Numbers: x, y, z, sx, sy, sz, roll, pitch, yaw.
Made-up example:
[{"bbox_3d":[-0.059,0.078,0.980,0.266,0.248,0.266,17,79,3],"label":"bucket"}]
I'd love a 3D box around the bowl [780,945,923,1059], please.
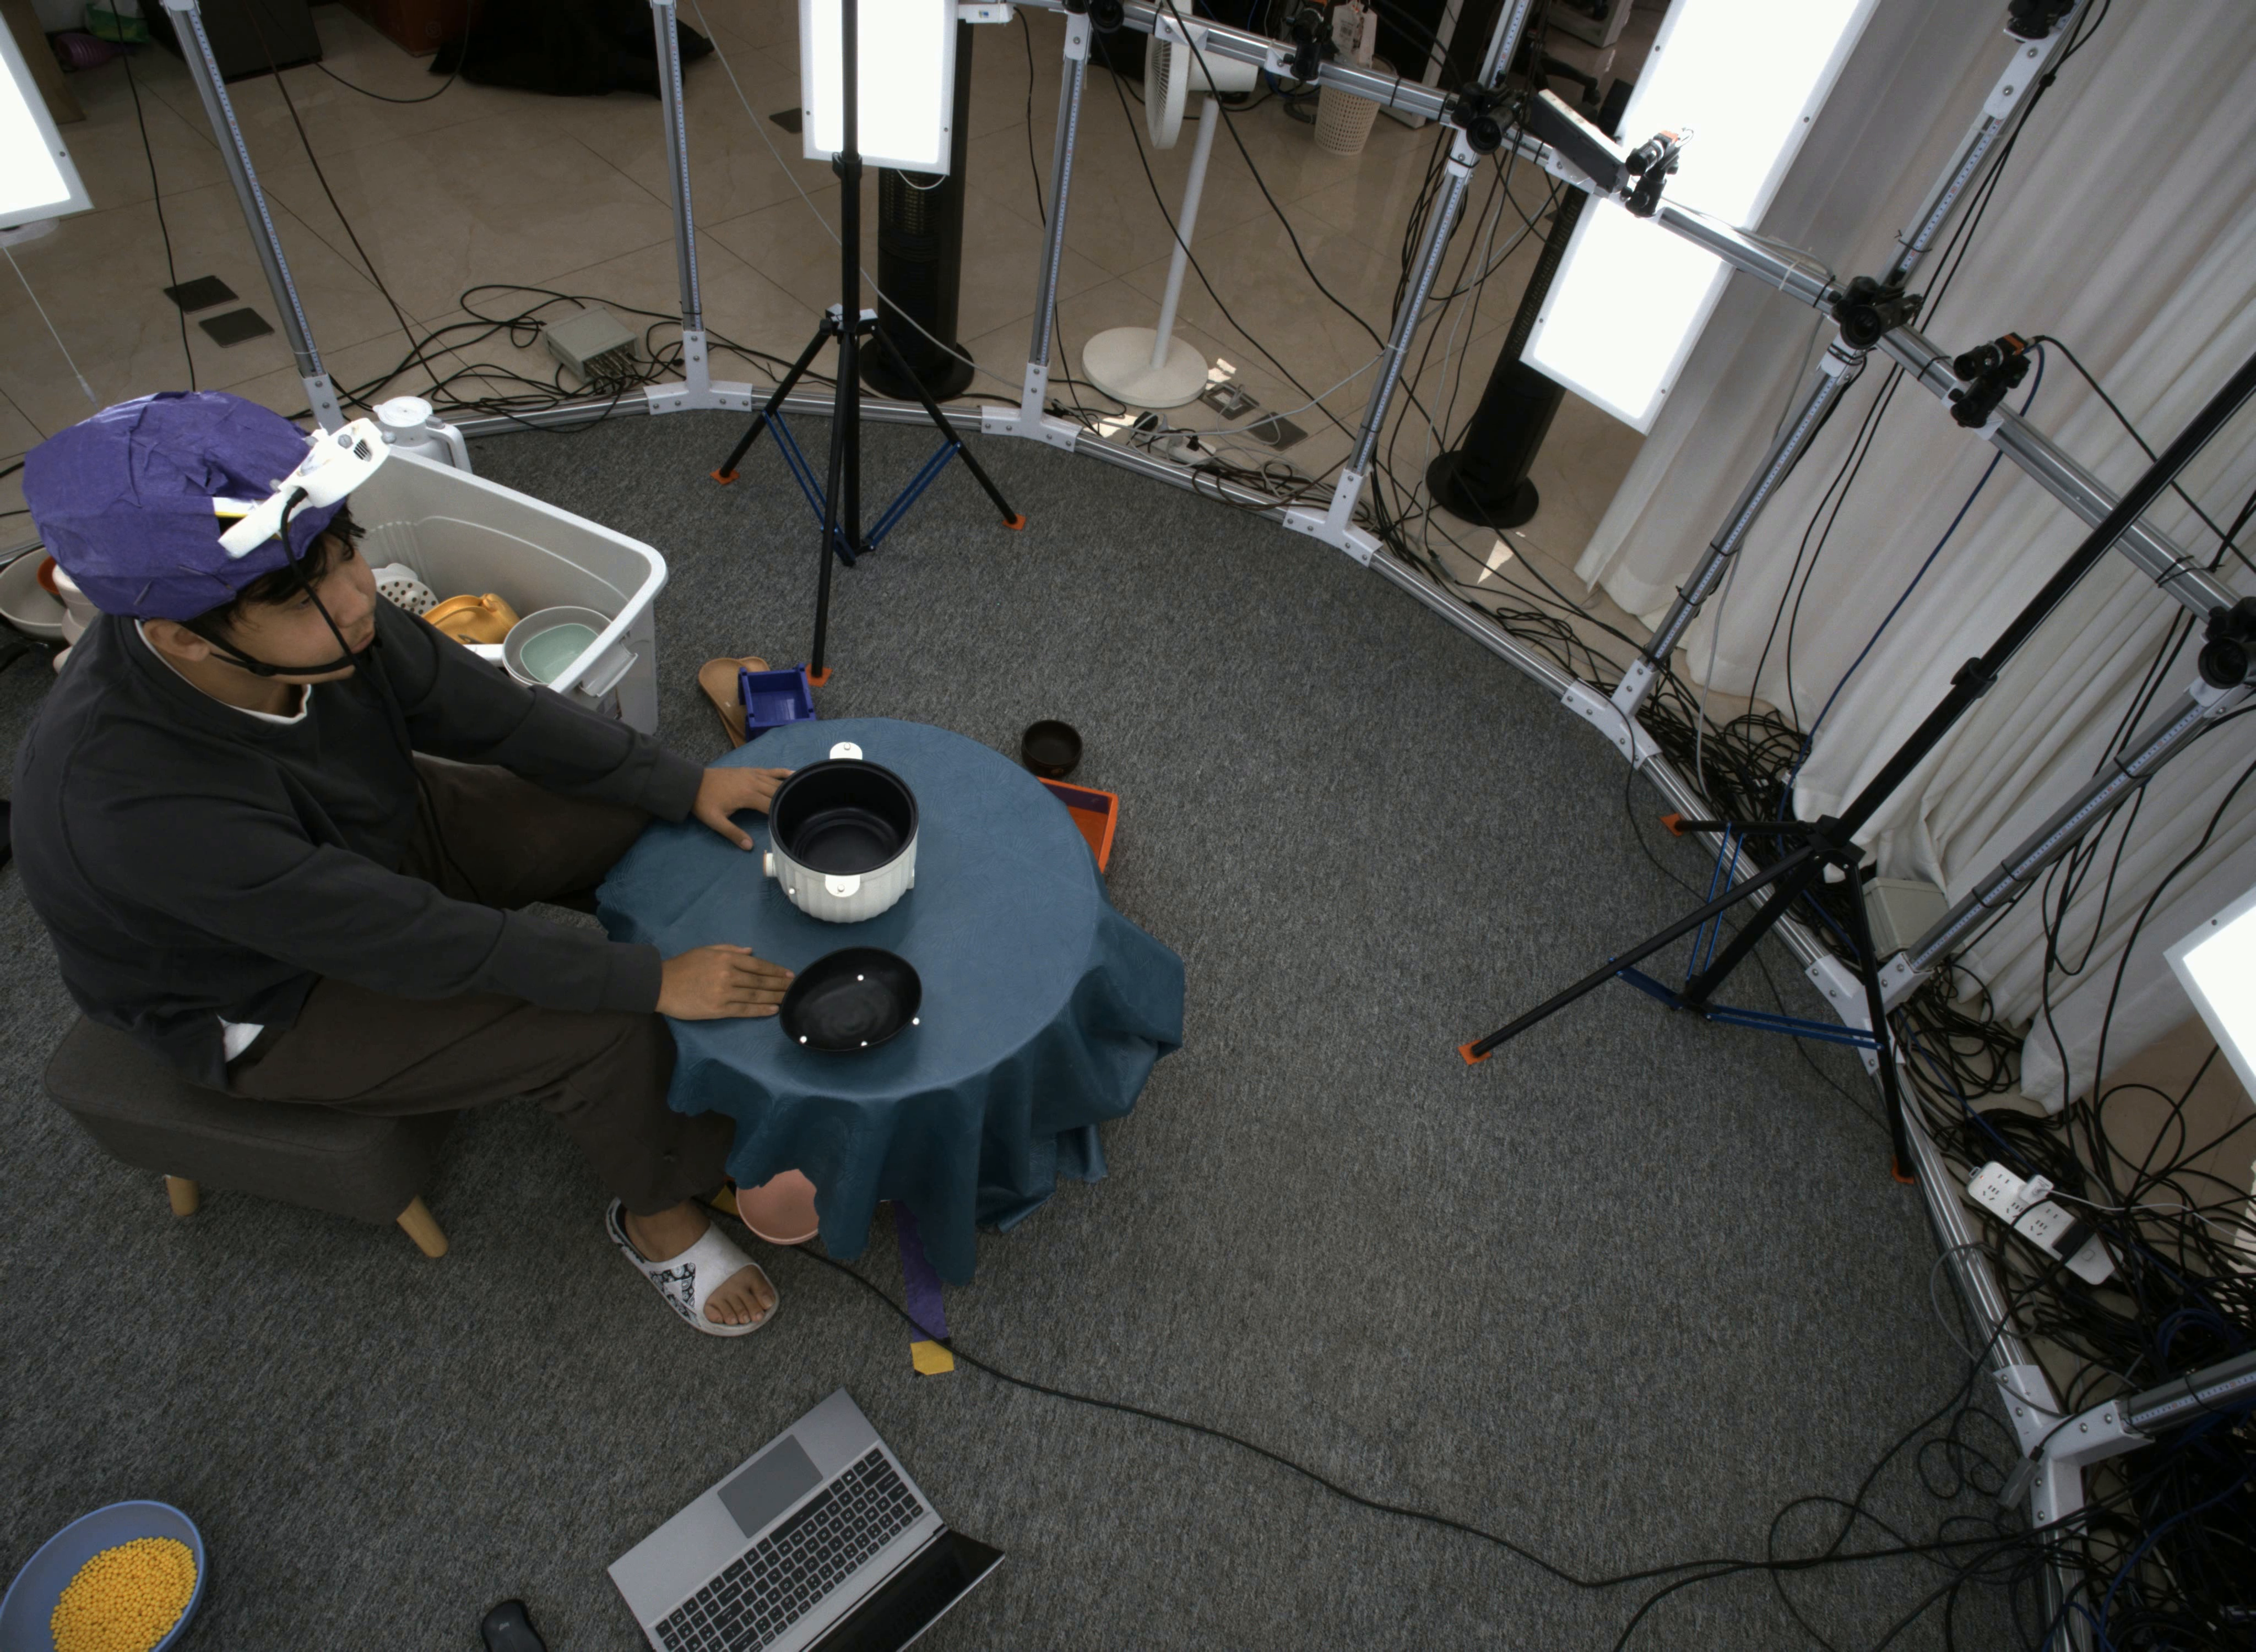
[{"bbox_3d":[-0.325,0.218,1.540,0.171,0.068,0.134,-20,60,-24],"label":"bowl"}]

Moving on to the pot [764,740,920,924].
[{"bbox_3d":[-0.360,0.025,1.628,0.191,0.145,0.235,2,52,-15],"label":"pot"}]
